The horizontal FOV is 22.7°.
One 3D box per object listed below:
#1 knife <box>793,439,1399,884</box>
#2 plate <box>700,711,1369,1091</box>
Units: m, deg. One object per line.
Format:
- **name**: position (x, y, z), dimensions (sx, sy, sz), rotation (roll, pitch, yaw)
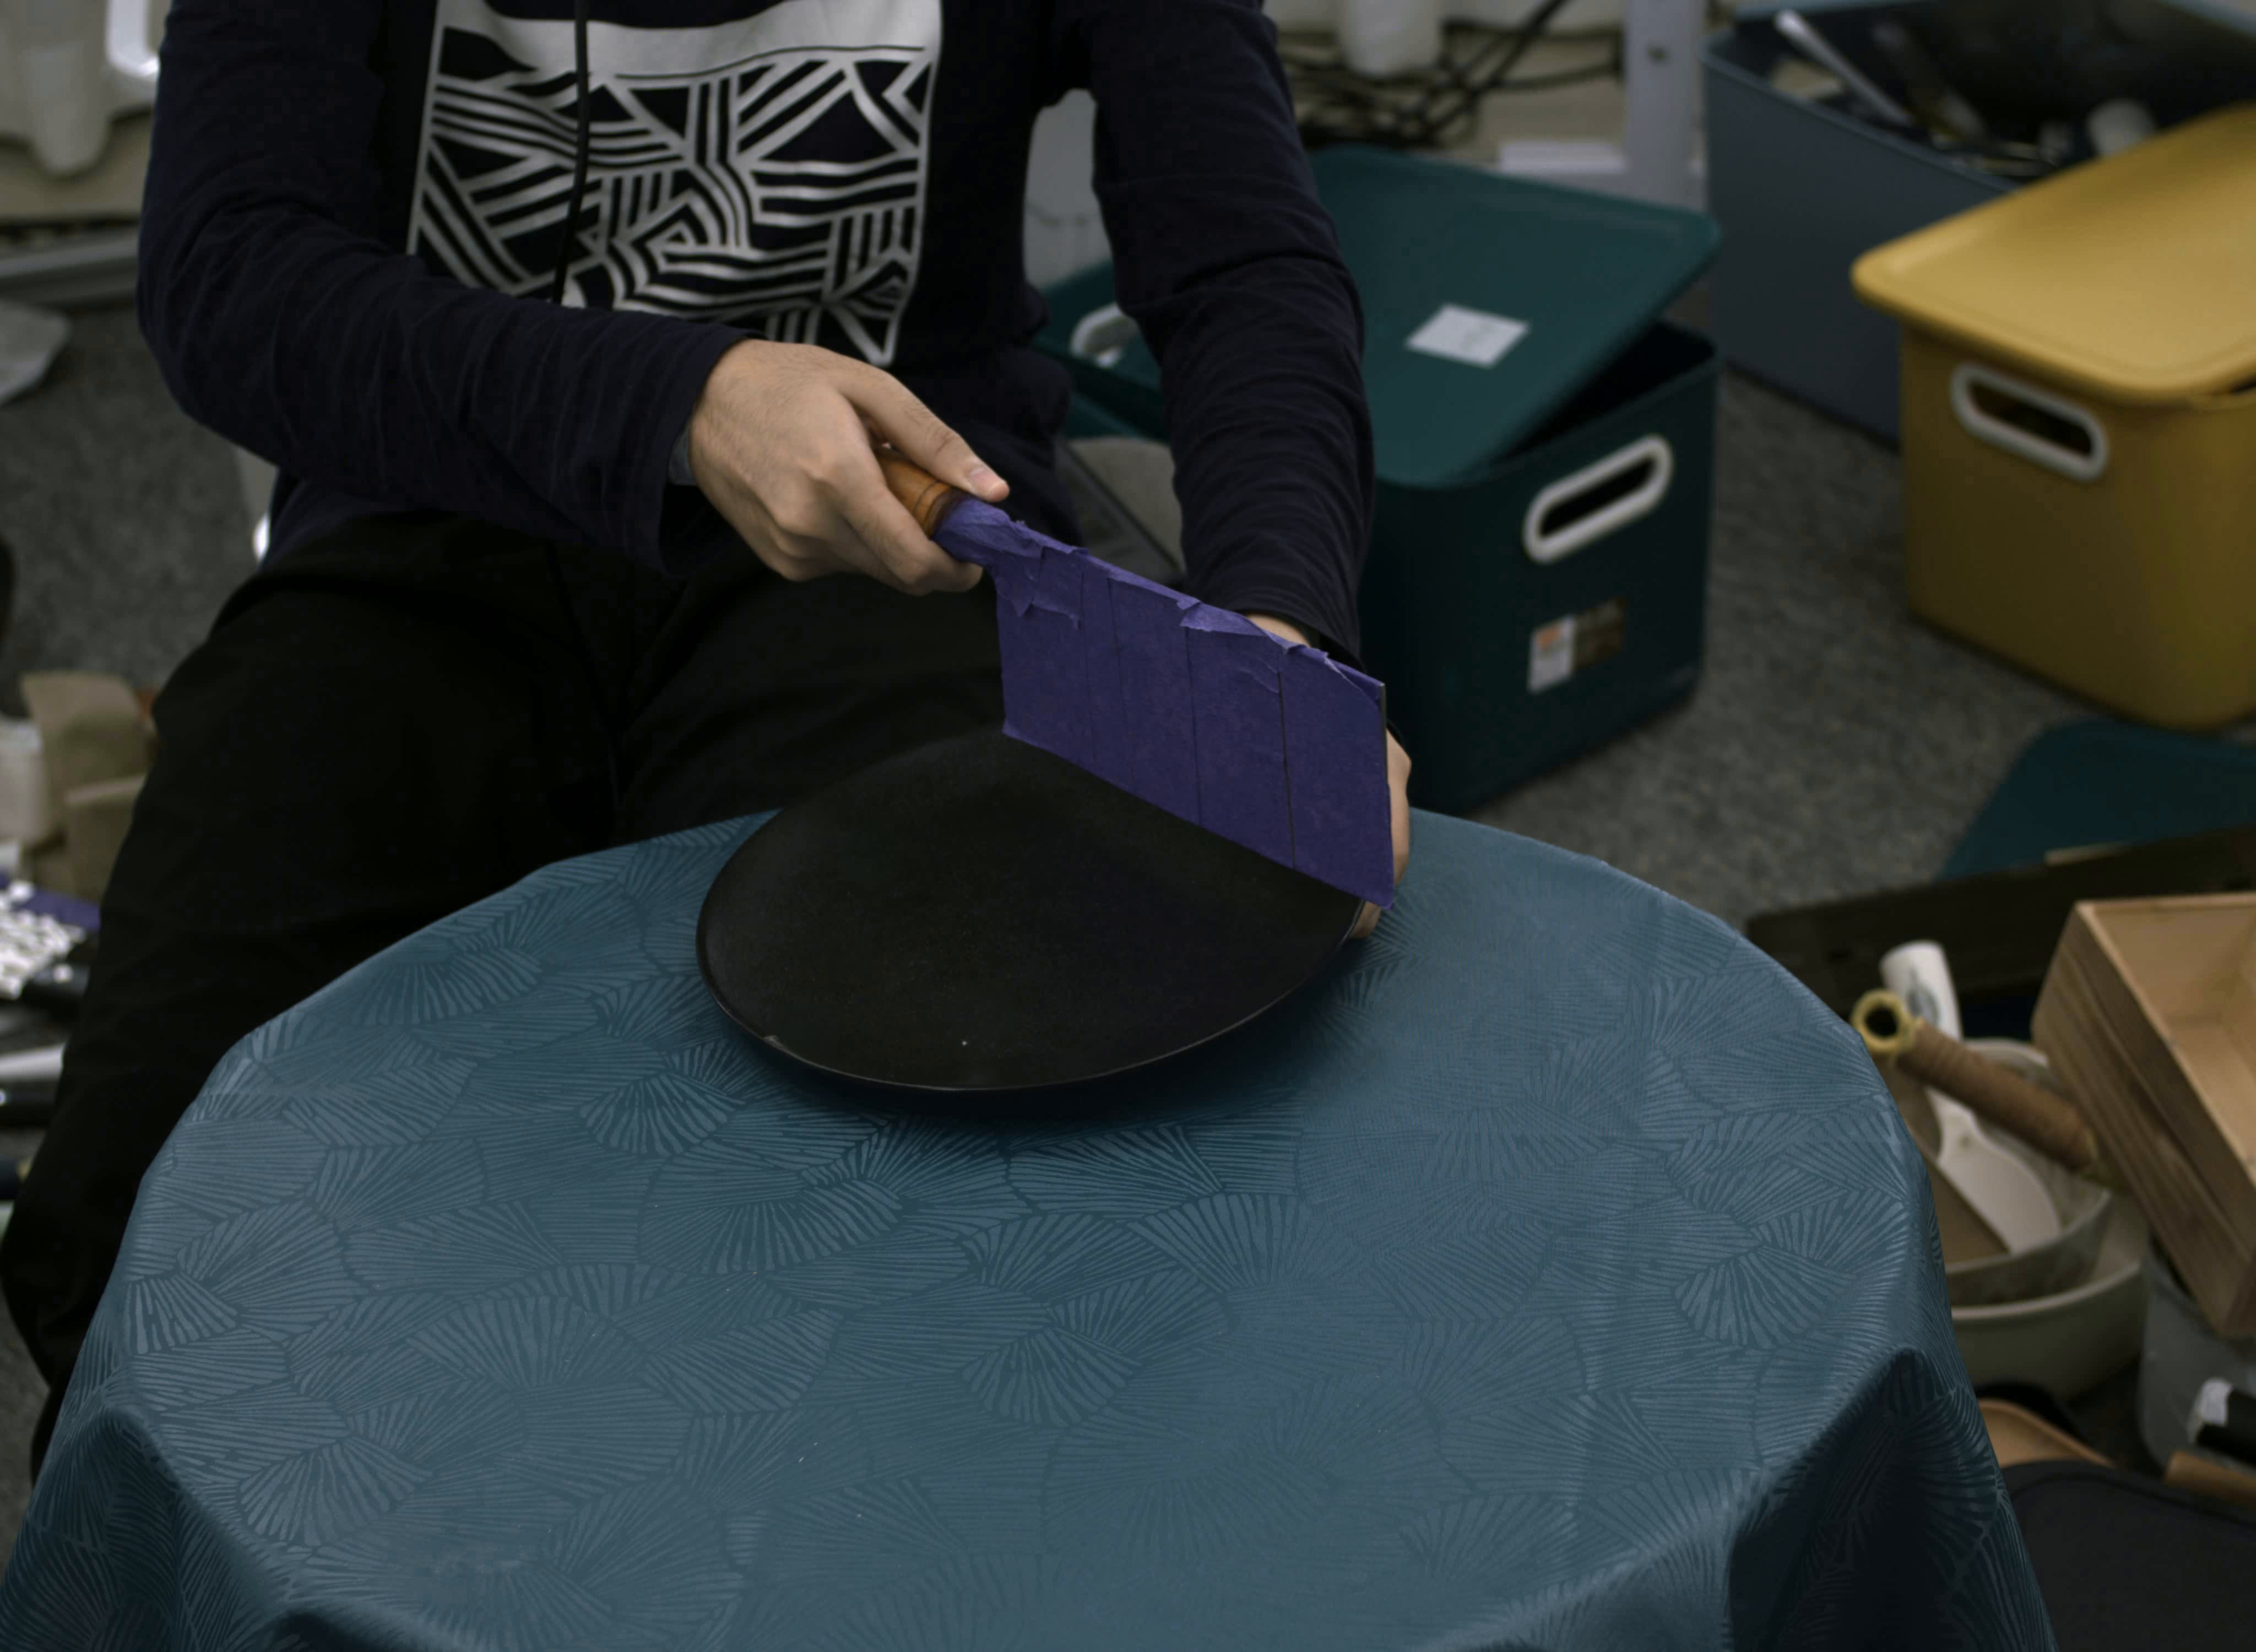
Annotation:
- **knife**: position (-0.015, -0.057, 2.018), dimensions (0.032, 0.103, 0.315), rotation (-21, 31, -34)
- **plate**: position (-0.031, 0.029, 1.994), dimensions (0.243, 0.023, 0.248), rotation (-8, 31, 5)
